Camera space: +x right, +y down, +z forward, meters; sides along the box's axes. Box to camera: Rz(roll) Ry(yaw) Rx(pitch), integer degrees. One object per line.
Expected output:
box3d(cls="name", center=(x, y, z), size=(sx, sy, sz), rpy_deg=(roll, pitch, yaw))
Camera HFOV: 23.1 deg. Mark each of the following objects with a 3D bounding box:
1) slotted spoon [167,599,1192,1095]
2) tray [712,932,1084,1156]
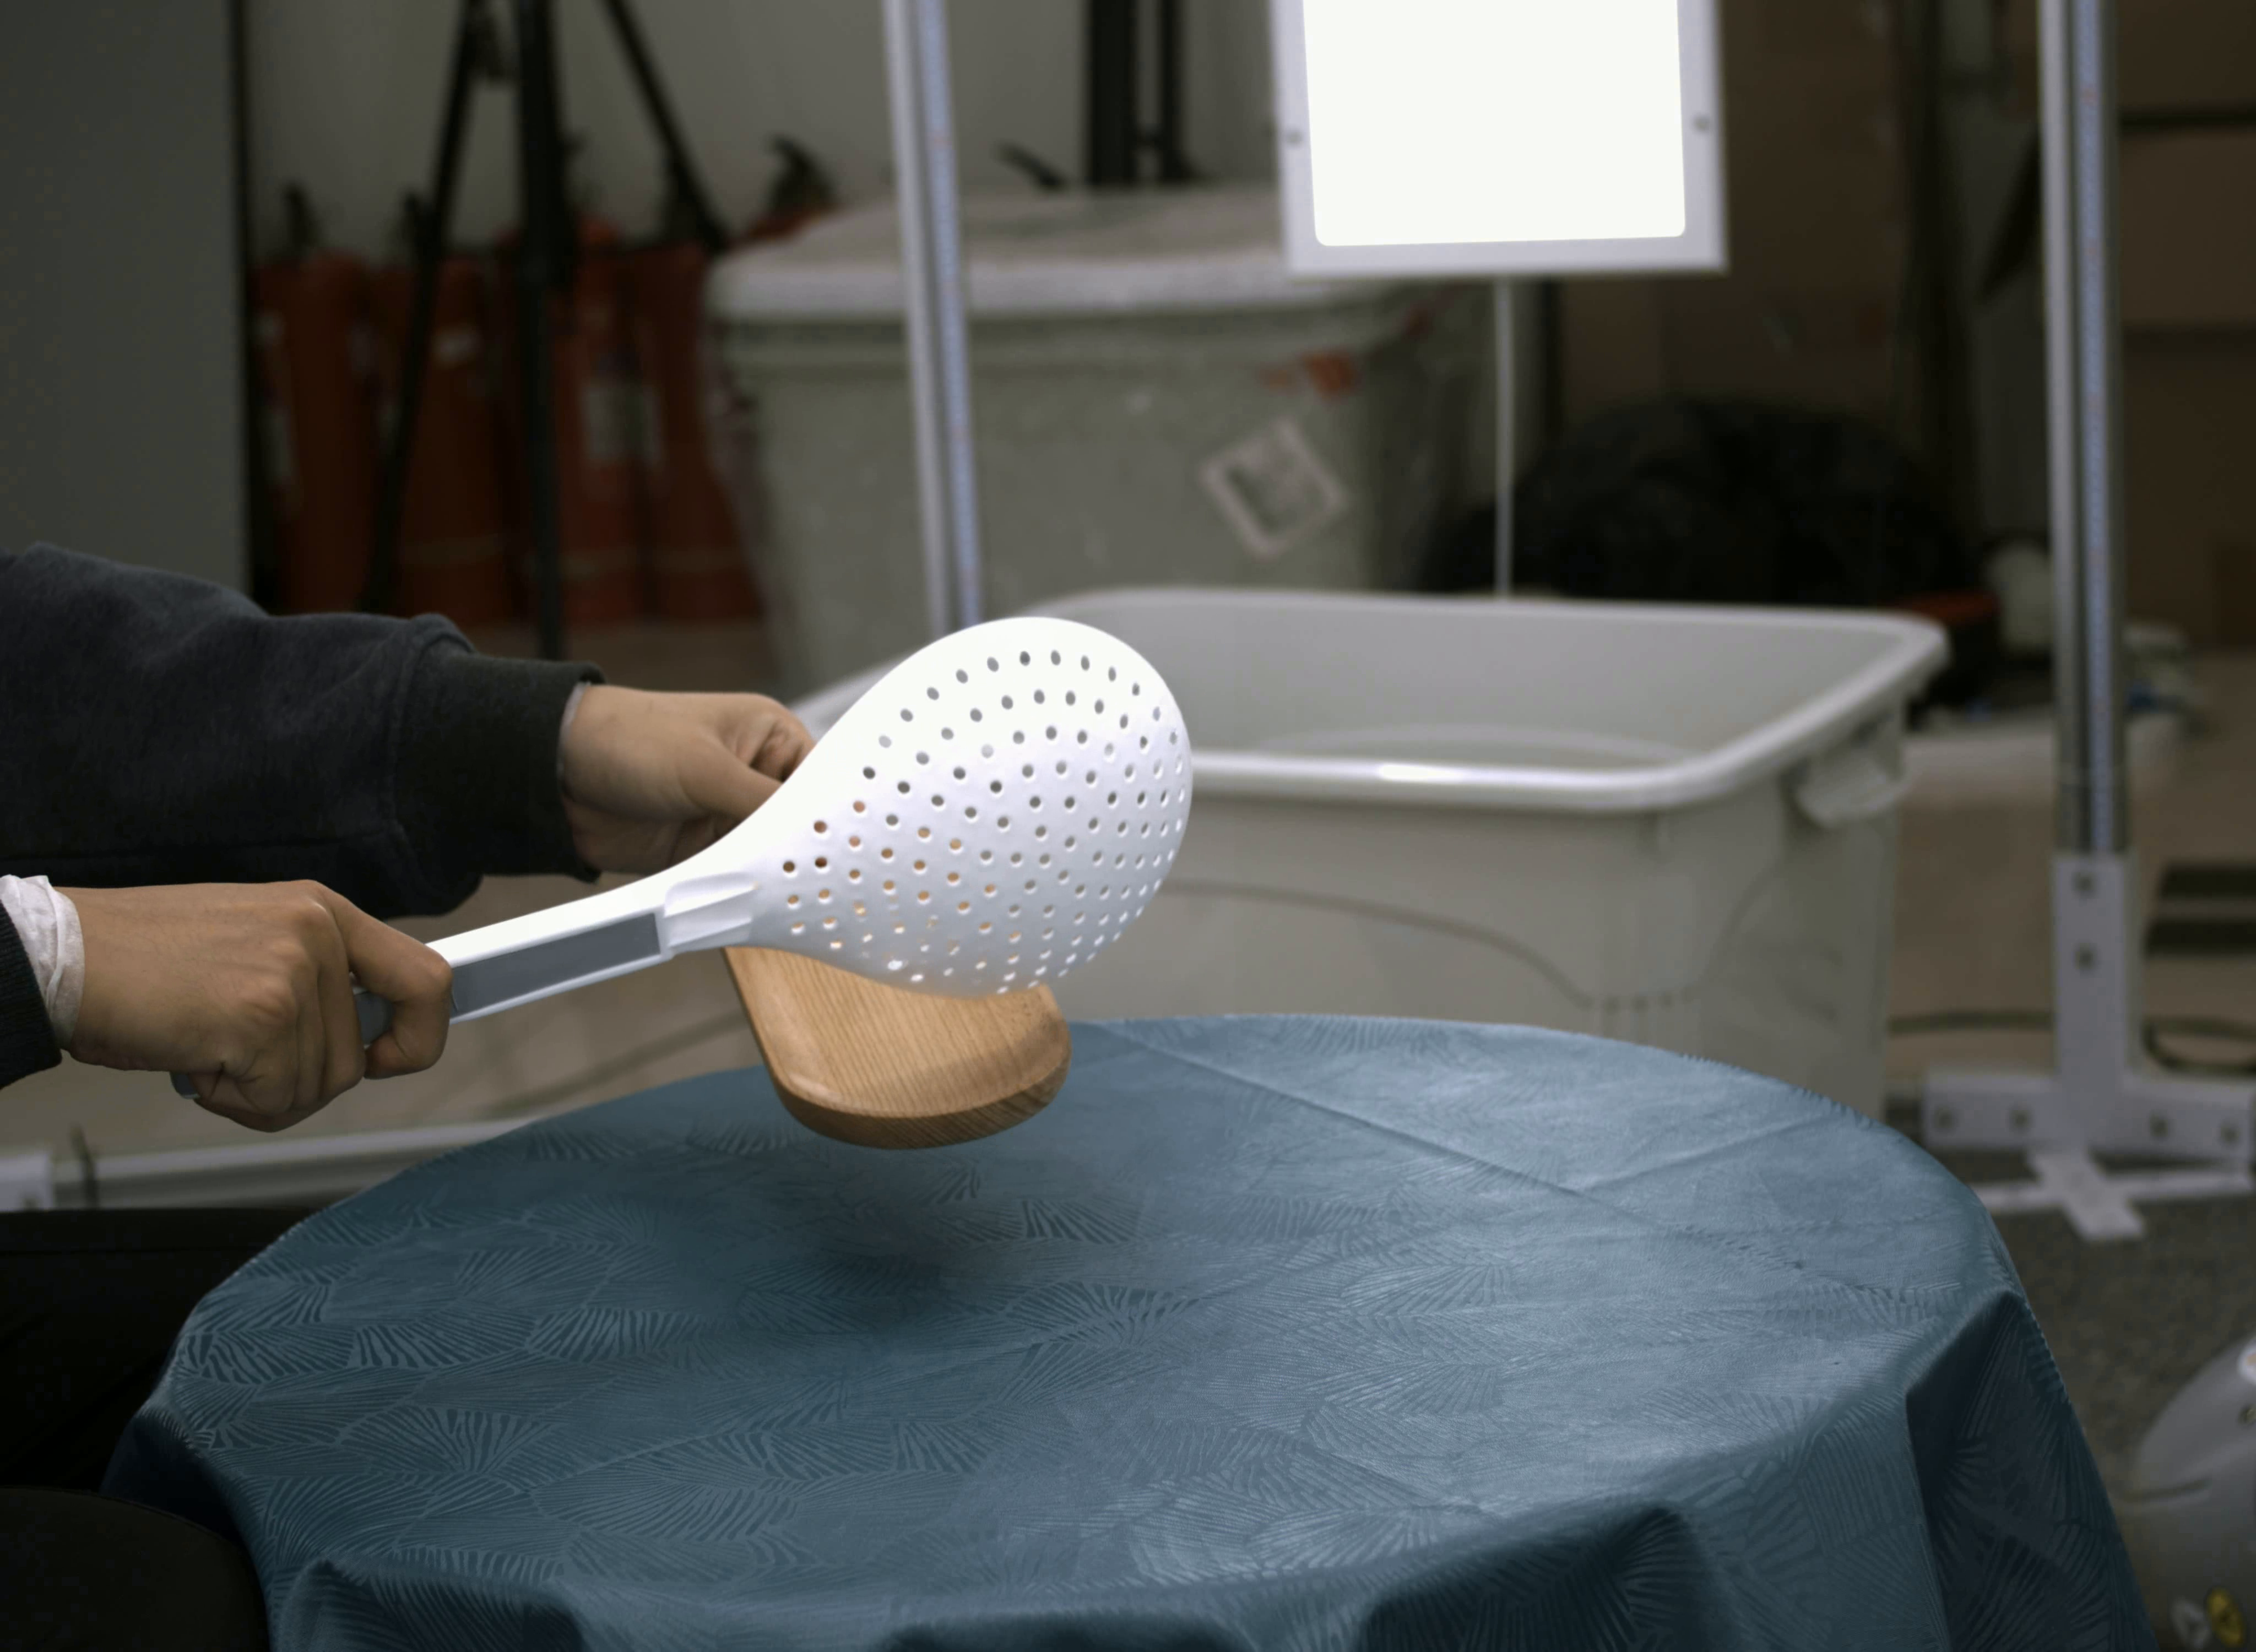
box3d(cls="slotted spoon", center=(-0.137, 0.023, 1.762), size=(0.346, 0.136, 0.046), rpy_deg=(-14, 28, -11))
box3d(cls="tray", center=(-0.081, 0.055, 1.879), size=(0.100, 0.020, 0.233), rpy_deg=(-12, 27, -10))
